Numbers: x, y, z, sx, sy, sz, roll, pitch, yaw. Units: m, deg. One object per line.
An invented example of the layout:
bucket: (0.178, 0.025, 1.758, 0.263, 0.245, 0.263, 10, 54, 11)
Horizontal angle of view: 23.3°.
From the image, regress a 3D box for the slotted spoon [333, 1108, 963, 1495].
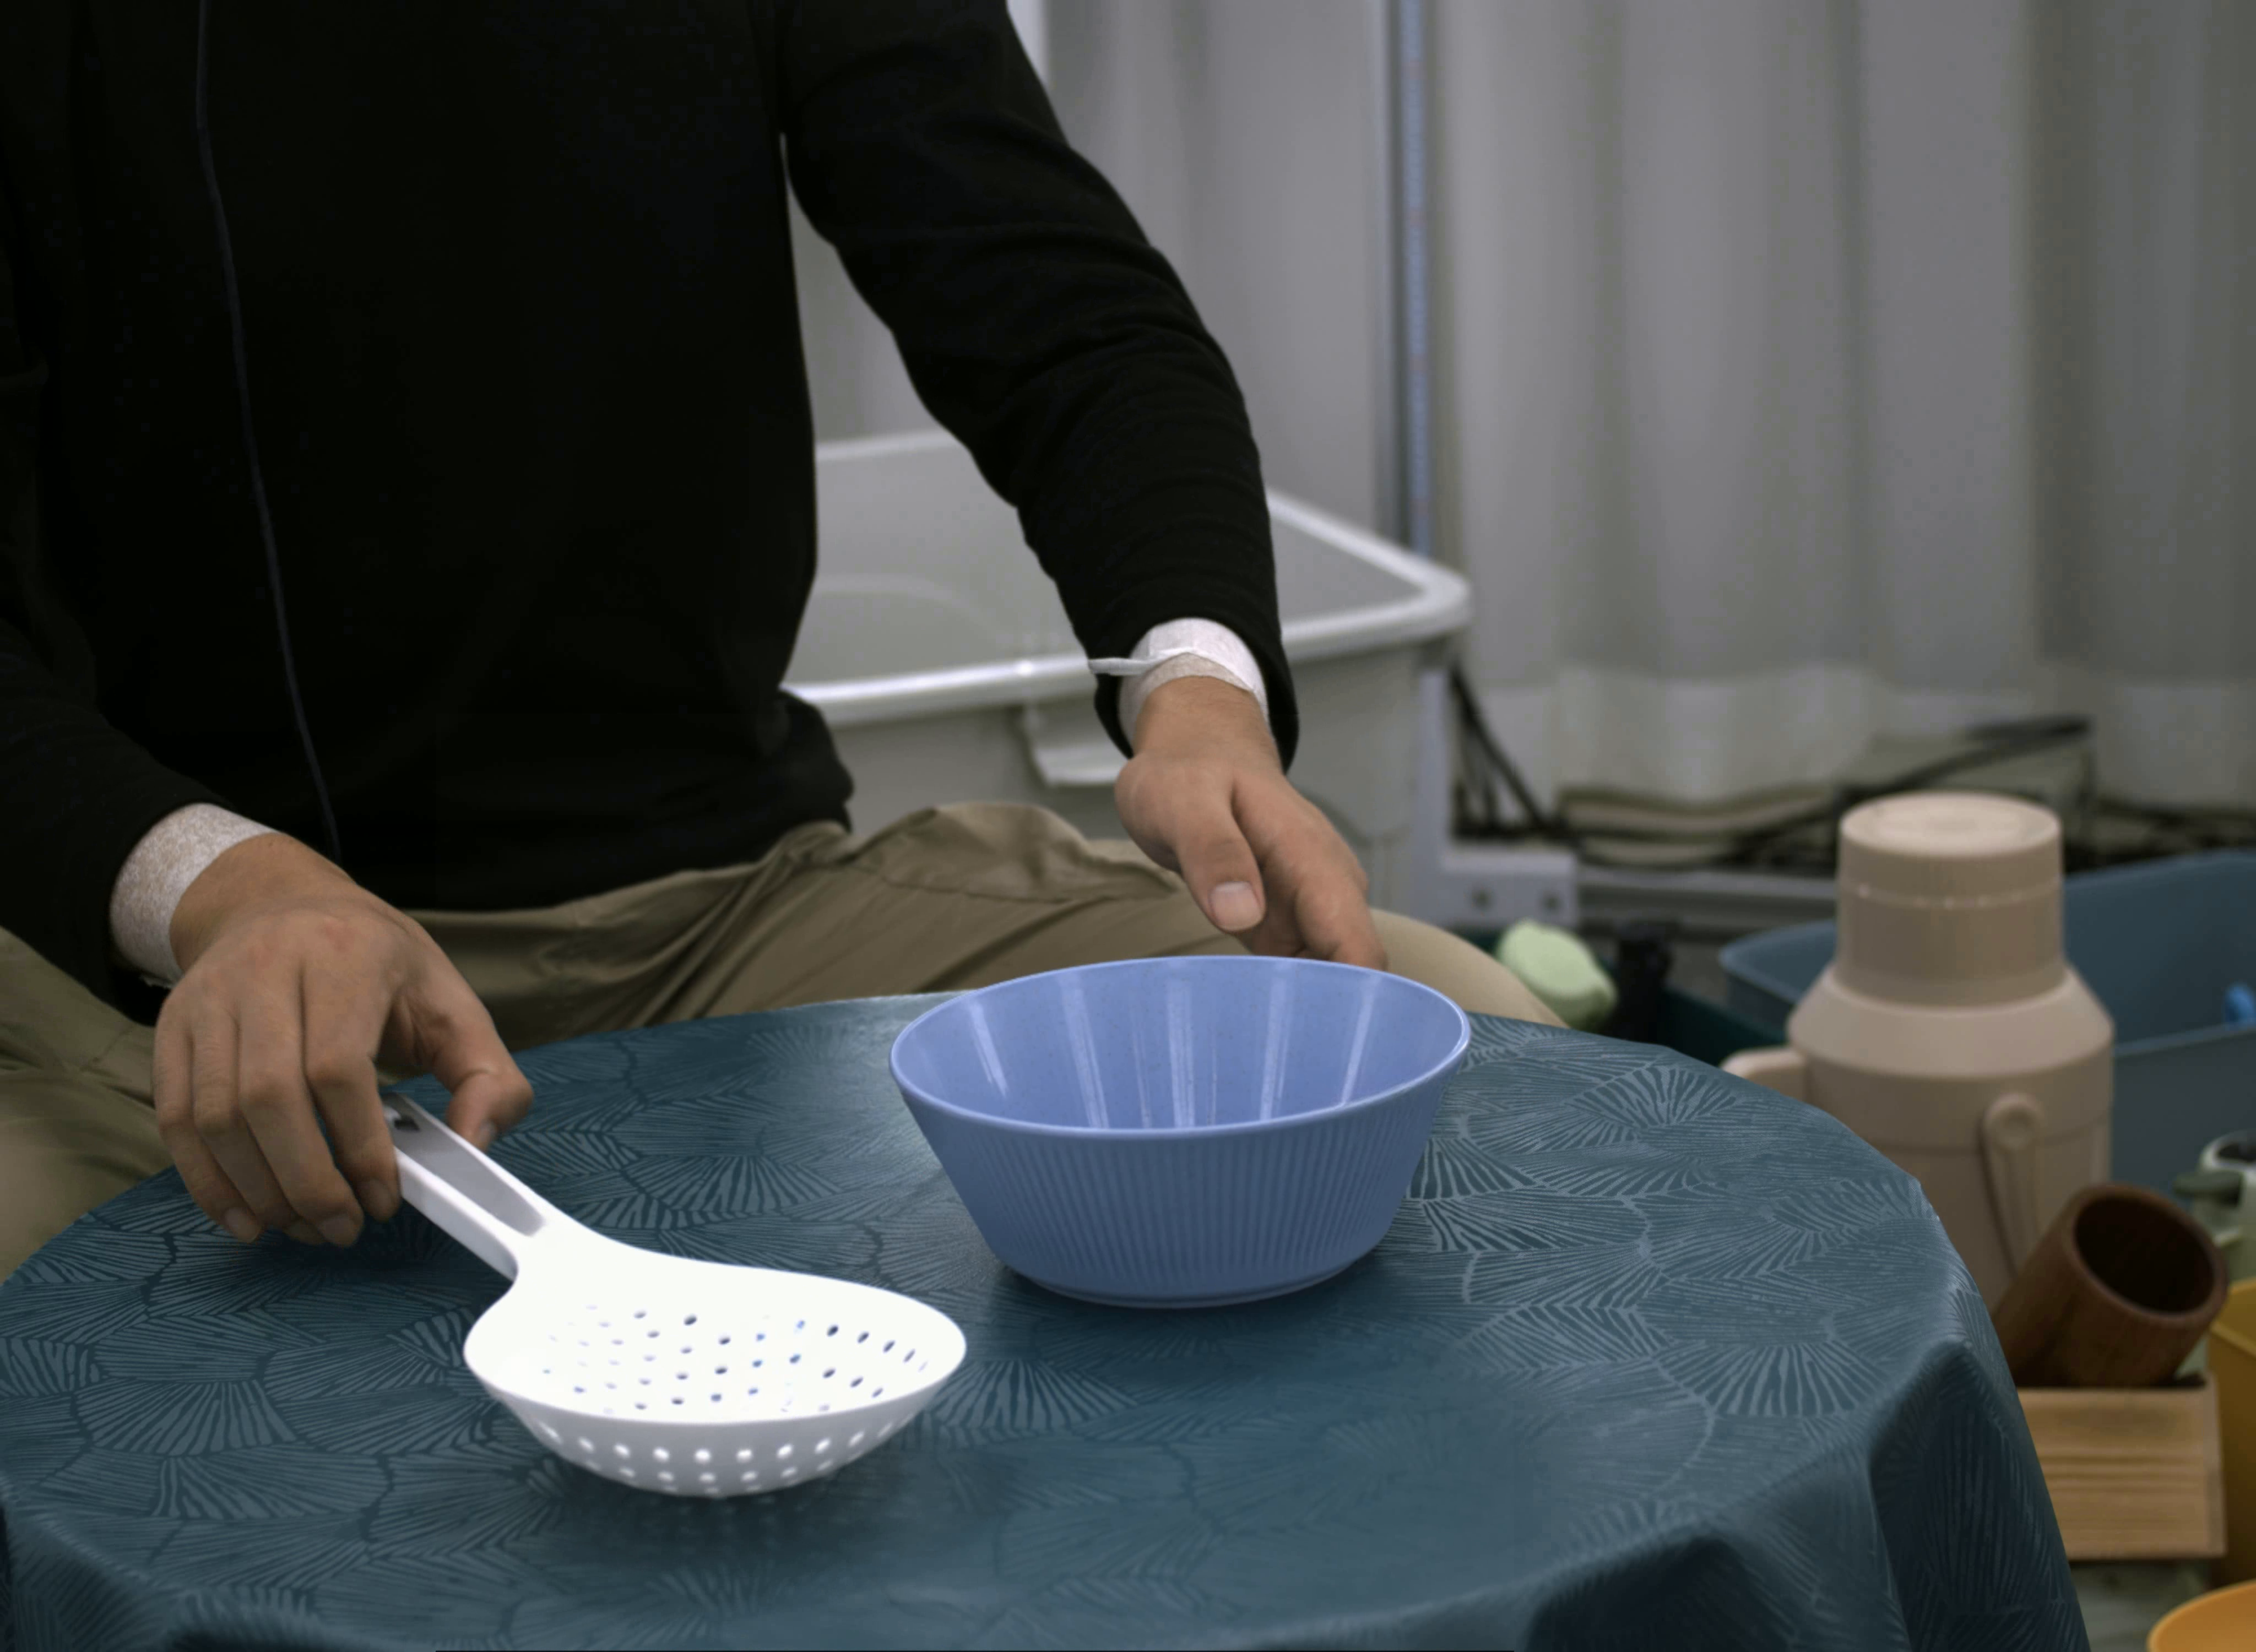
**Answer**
slotted spoon: (-0.162, 0.128, 1.578, 0.135, 0.045, 0.353, -6, 17, -26)

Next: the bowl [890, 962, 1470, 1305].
bowl: (0.017, 0.095, 1.651, 0.175, 0.070, 0.177, -3, 14, 1)
